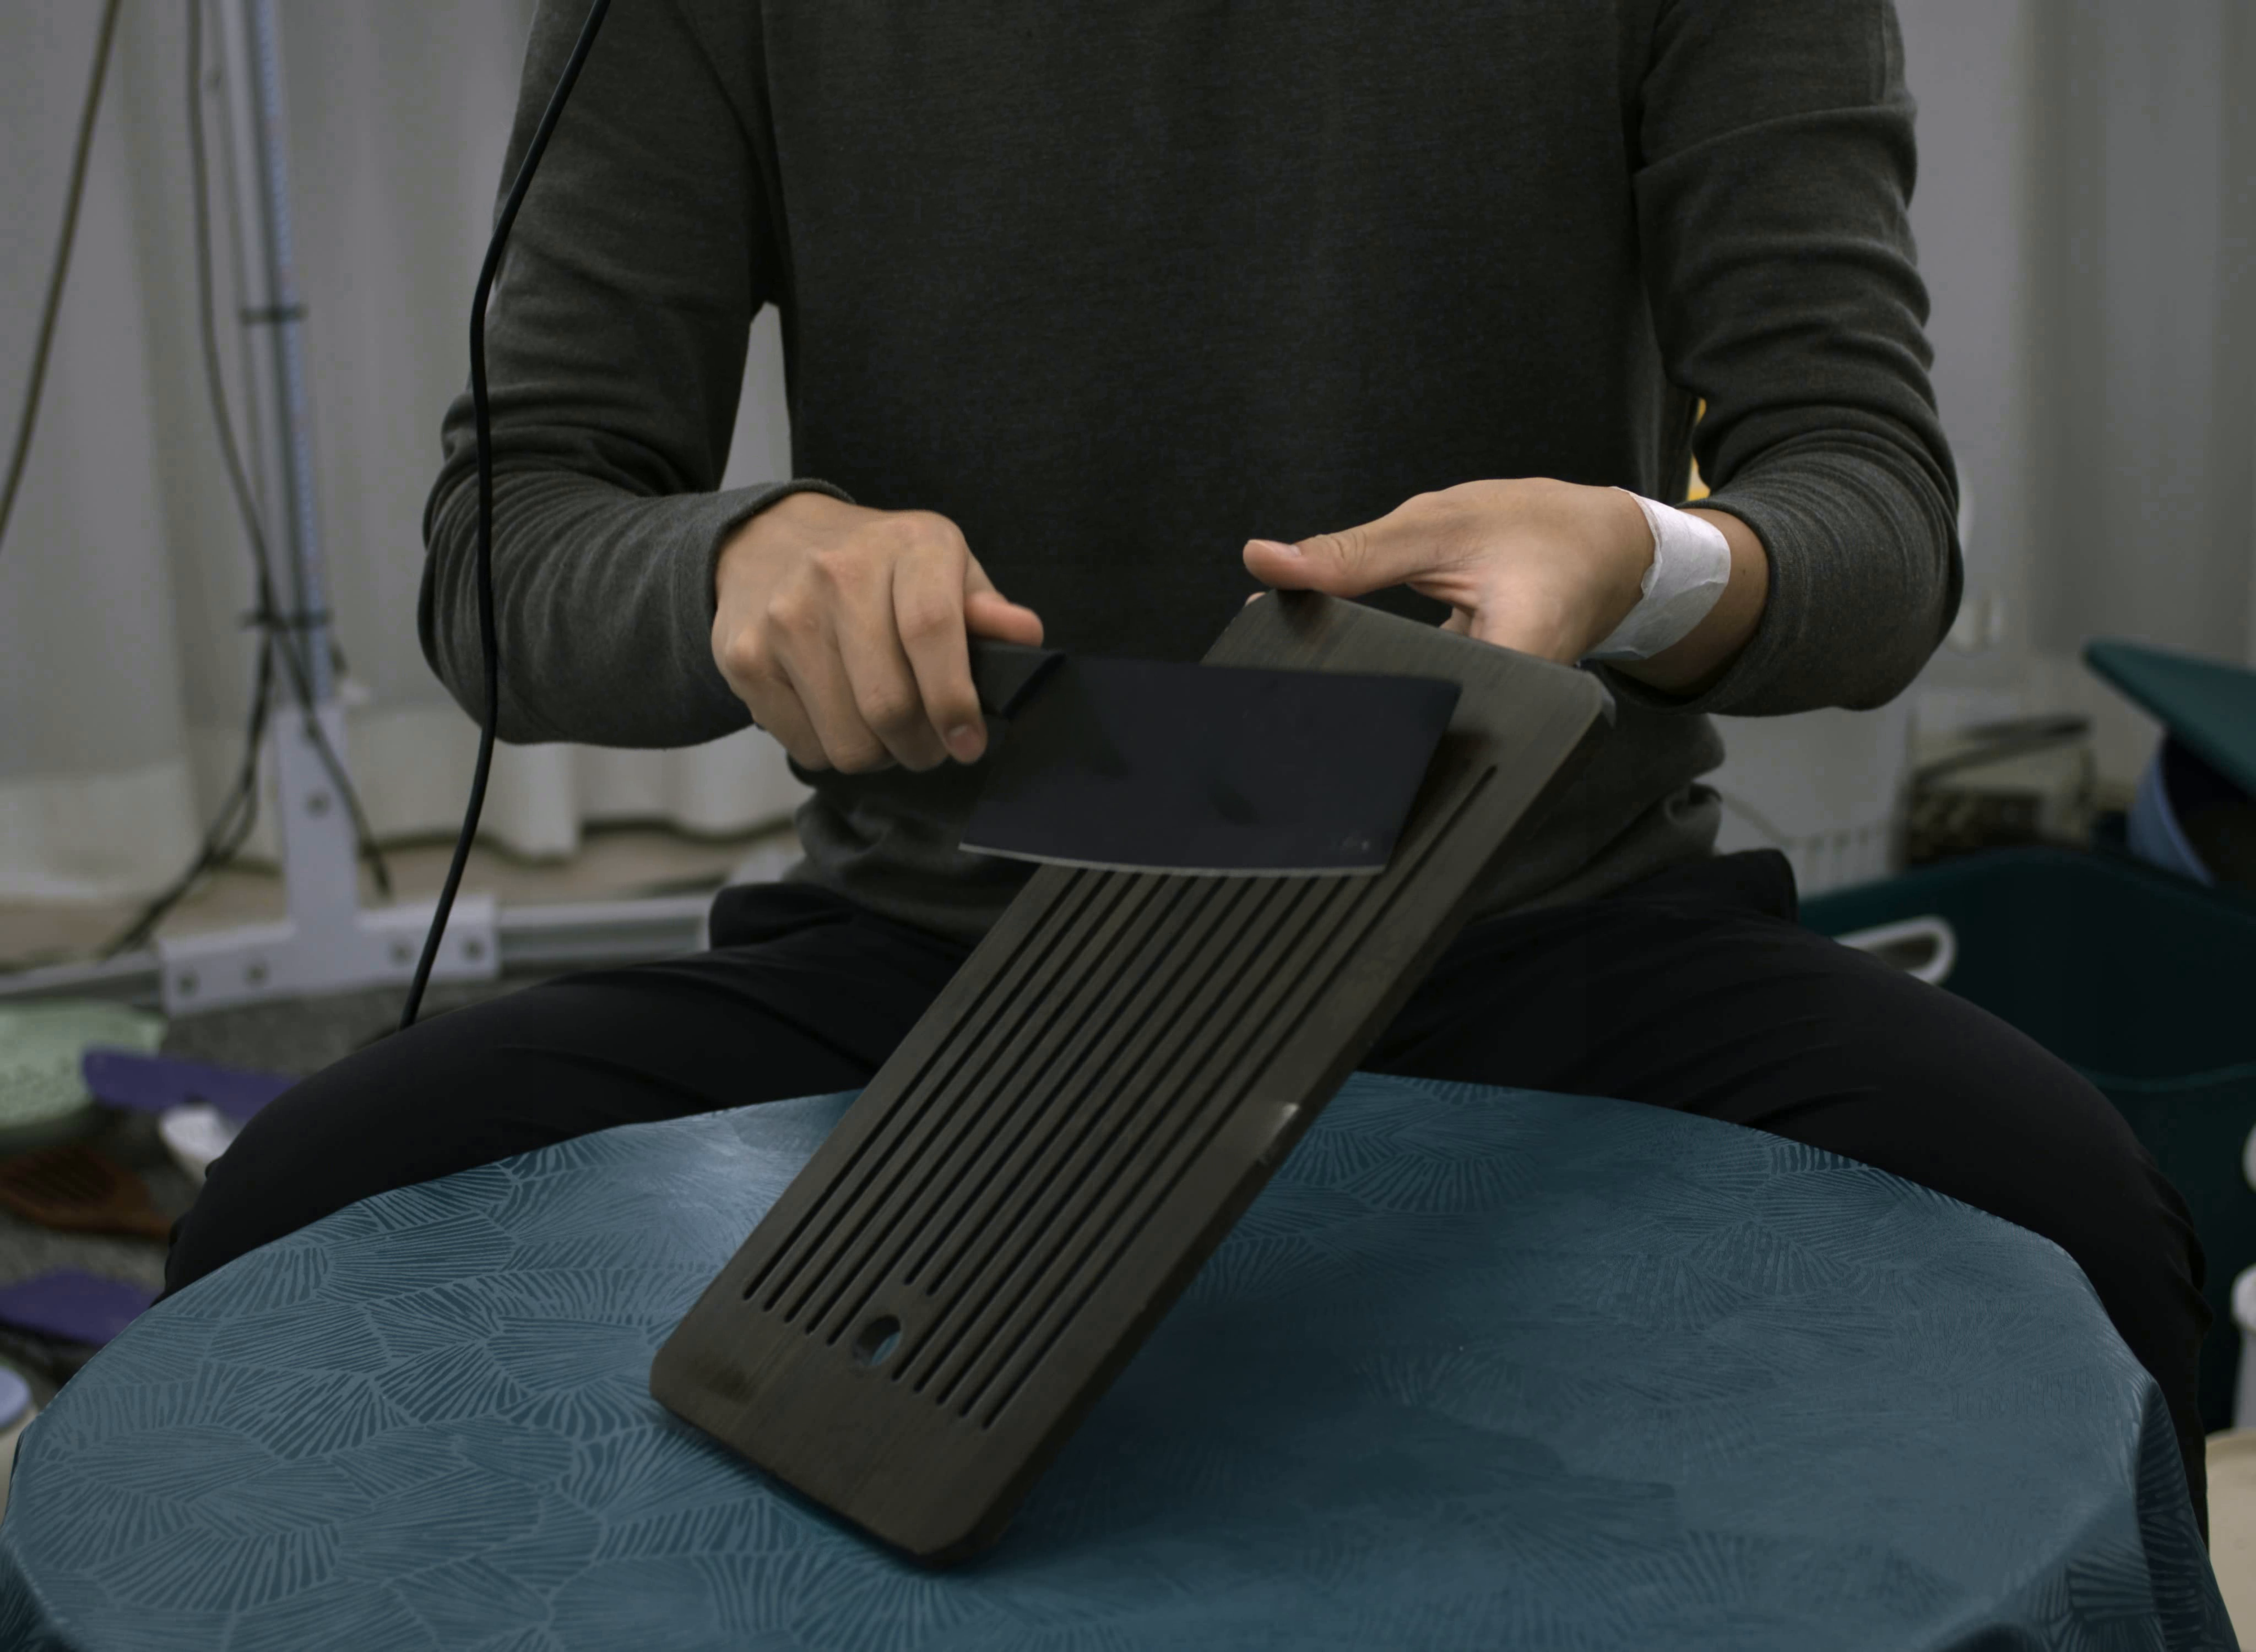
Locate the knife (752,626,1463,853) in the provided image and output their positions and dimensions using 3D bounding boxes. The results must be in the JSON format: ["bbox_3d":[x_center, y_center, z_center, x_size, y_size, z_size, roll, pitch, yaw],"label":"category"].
[{"bbox_3d":[-0.015,-0.027,1.615,0.020,0.081,0.304,38,-17,-36],"label":"knife"}]

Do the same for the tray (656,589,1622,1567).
[{"bbox_3d":[0.003,0.064,1.518,0.307,0.018,0.171,-51,32,-14],"label":"tray"}]
